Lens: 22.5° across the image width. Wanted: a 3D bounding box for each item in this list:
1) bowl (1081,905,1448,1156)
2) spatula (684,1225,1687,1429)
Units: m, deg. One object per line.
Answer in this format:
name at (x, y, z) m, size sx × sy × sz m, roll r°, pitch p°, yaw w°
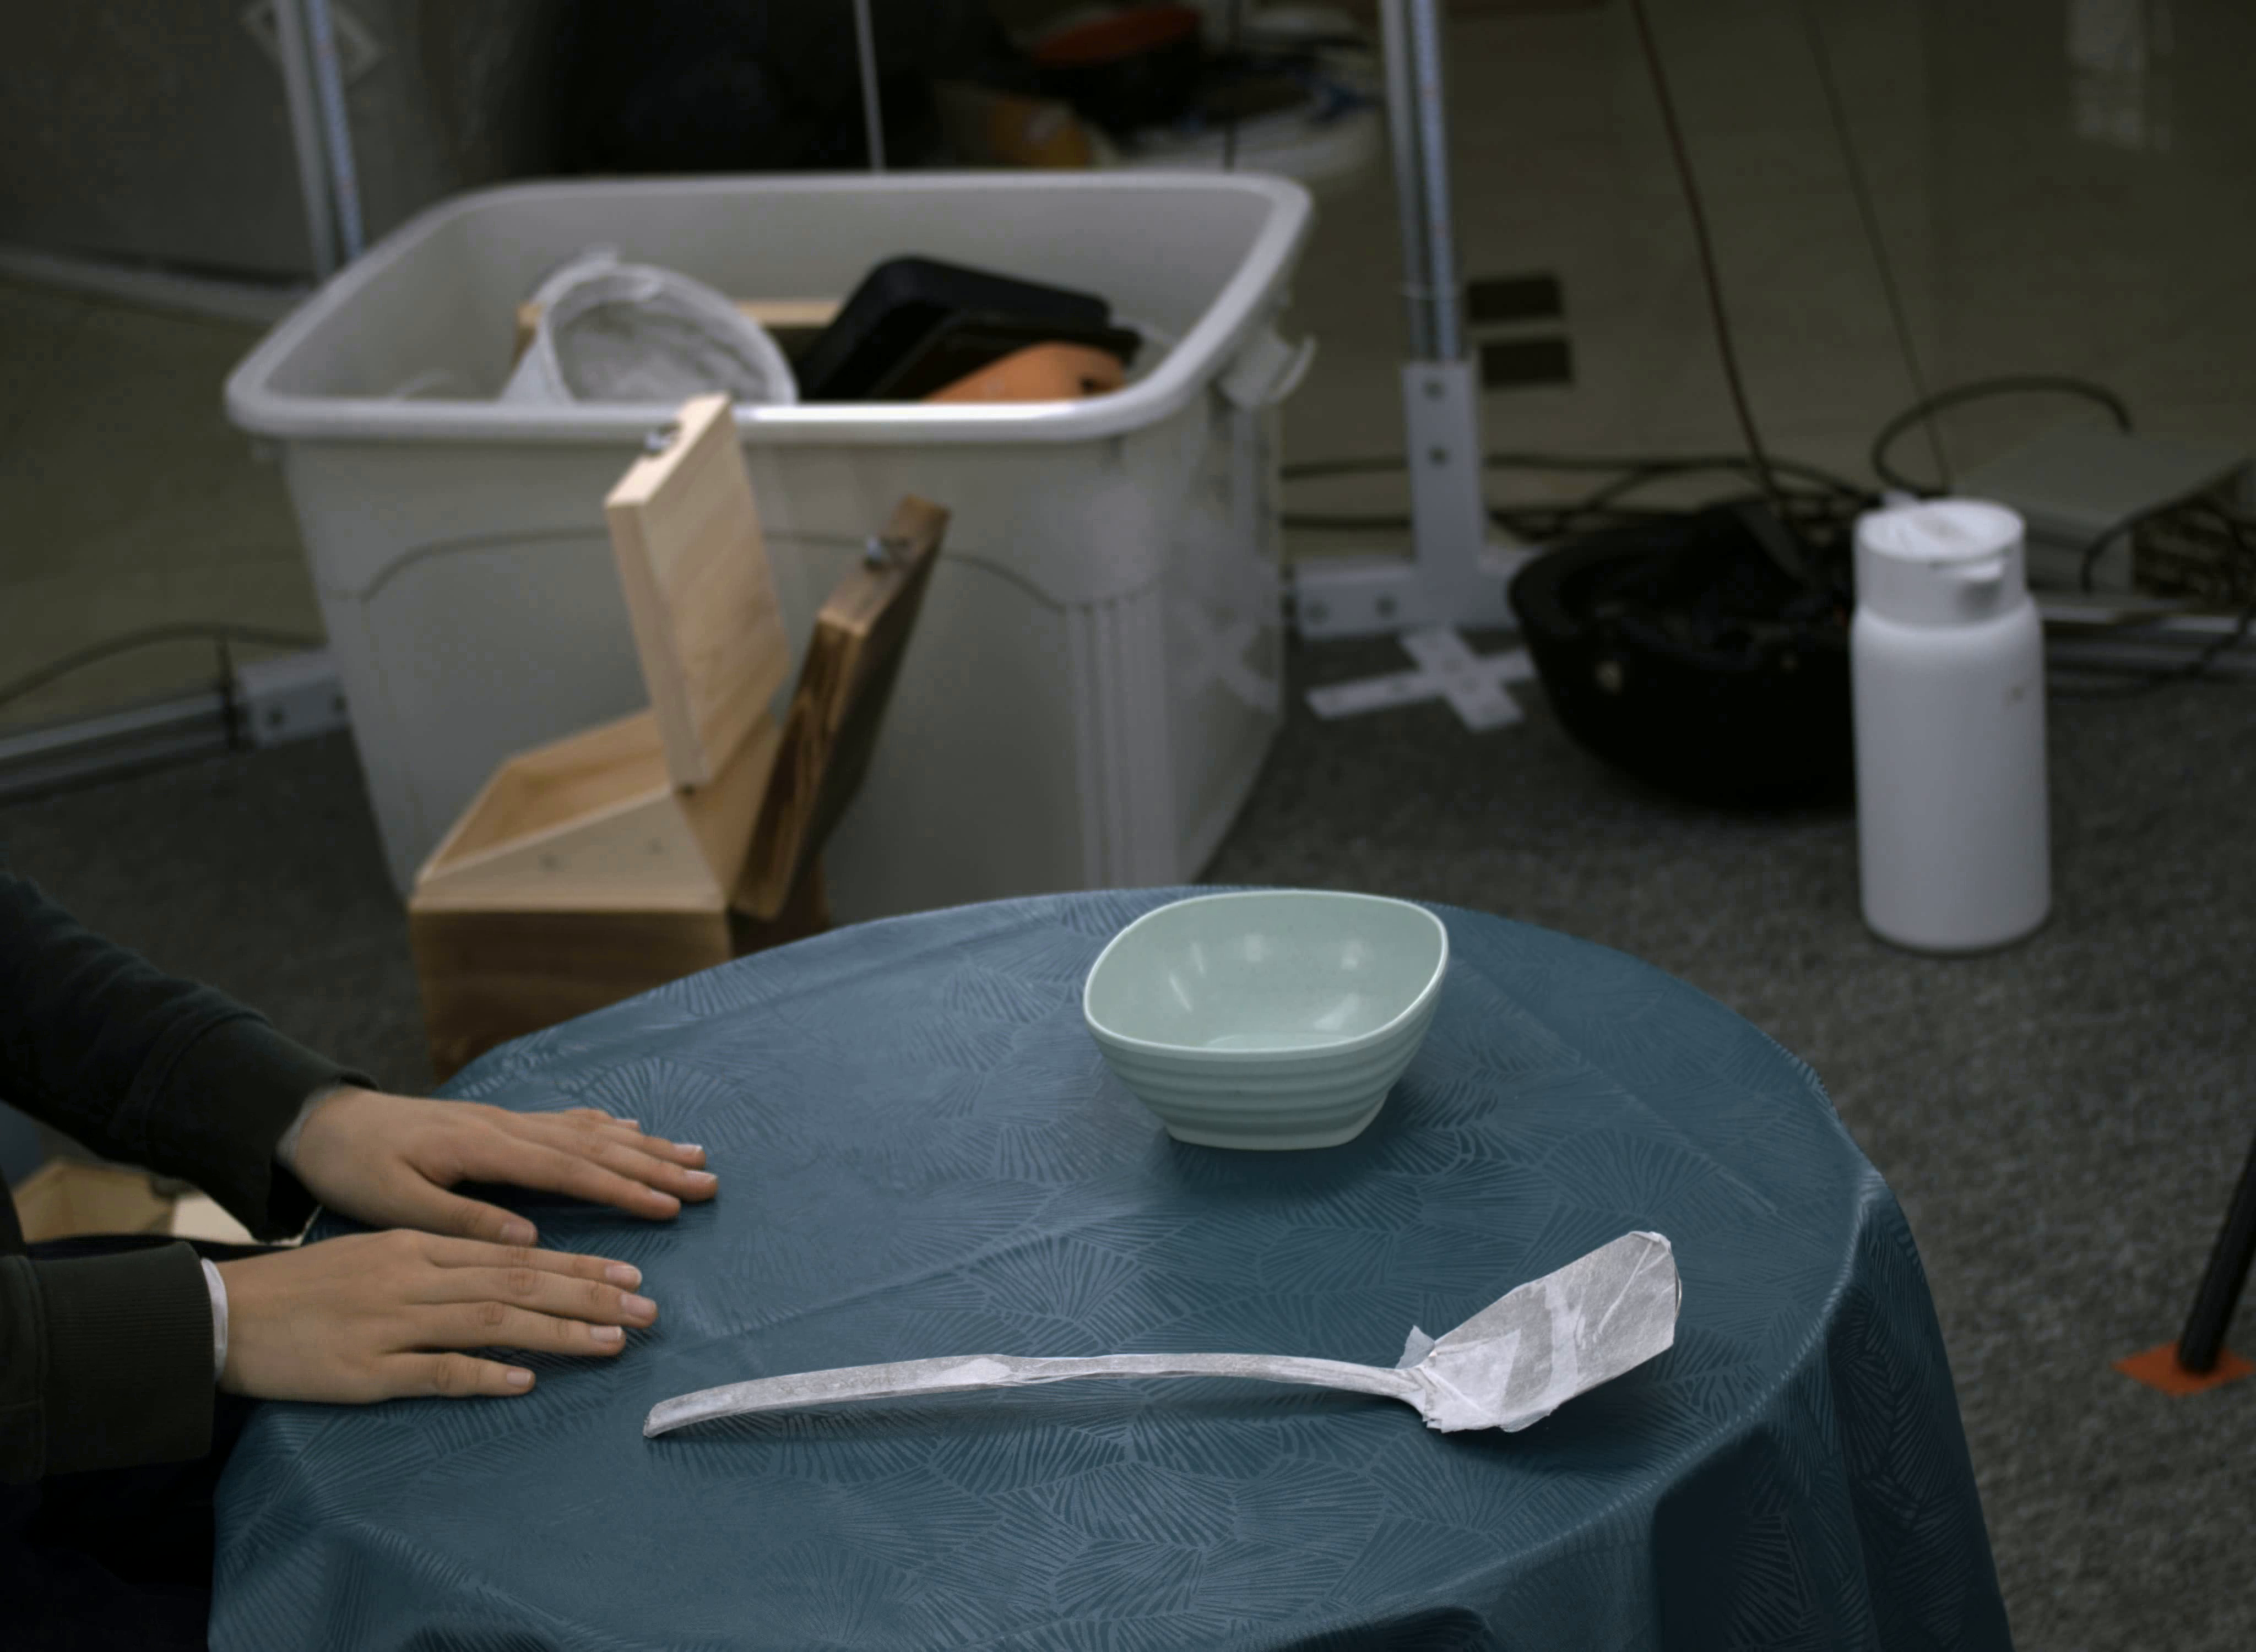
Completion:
bowl at (0.055, 0.084, 2.194) m, size 0.151 × 0.059 × 0.149 m, roll -4°, pitch 23°, yaw 2°
spatula at (0.016, 0.186, 2.003) m, size 0.364 × 0.045 × 0.097 m, roll -2°, pitch 27°, yaw 8°
